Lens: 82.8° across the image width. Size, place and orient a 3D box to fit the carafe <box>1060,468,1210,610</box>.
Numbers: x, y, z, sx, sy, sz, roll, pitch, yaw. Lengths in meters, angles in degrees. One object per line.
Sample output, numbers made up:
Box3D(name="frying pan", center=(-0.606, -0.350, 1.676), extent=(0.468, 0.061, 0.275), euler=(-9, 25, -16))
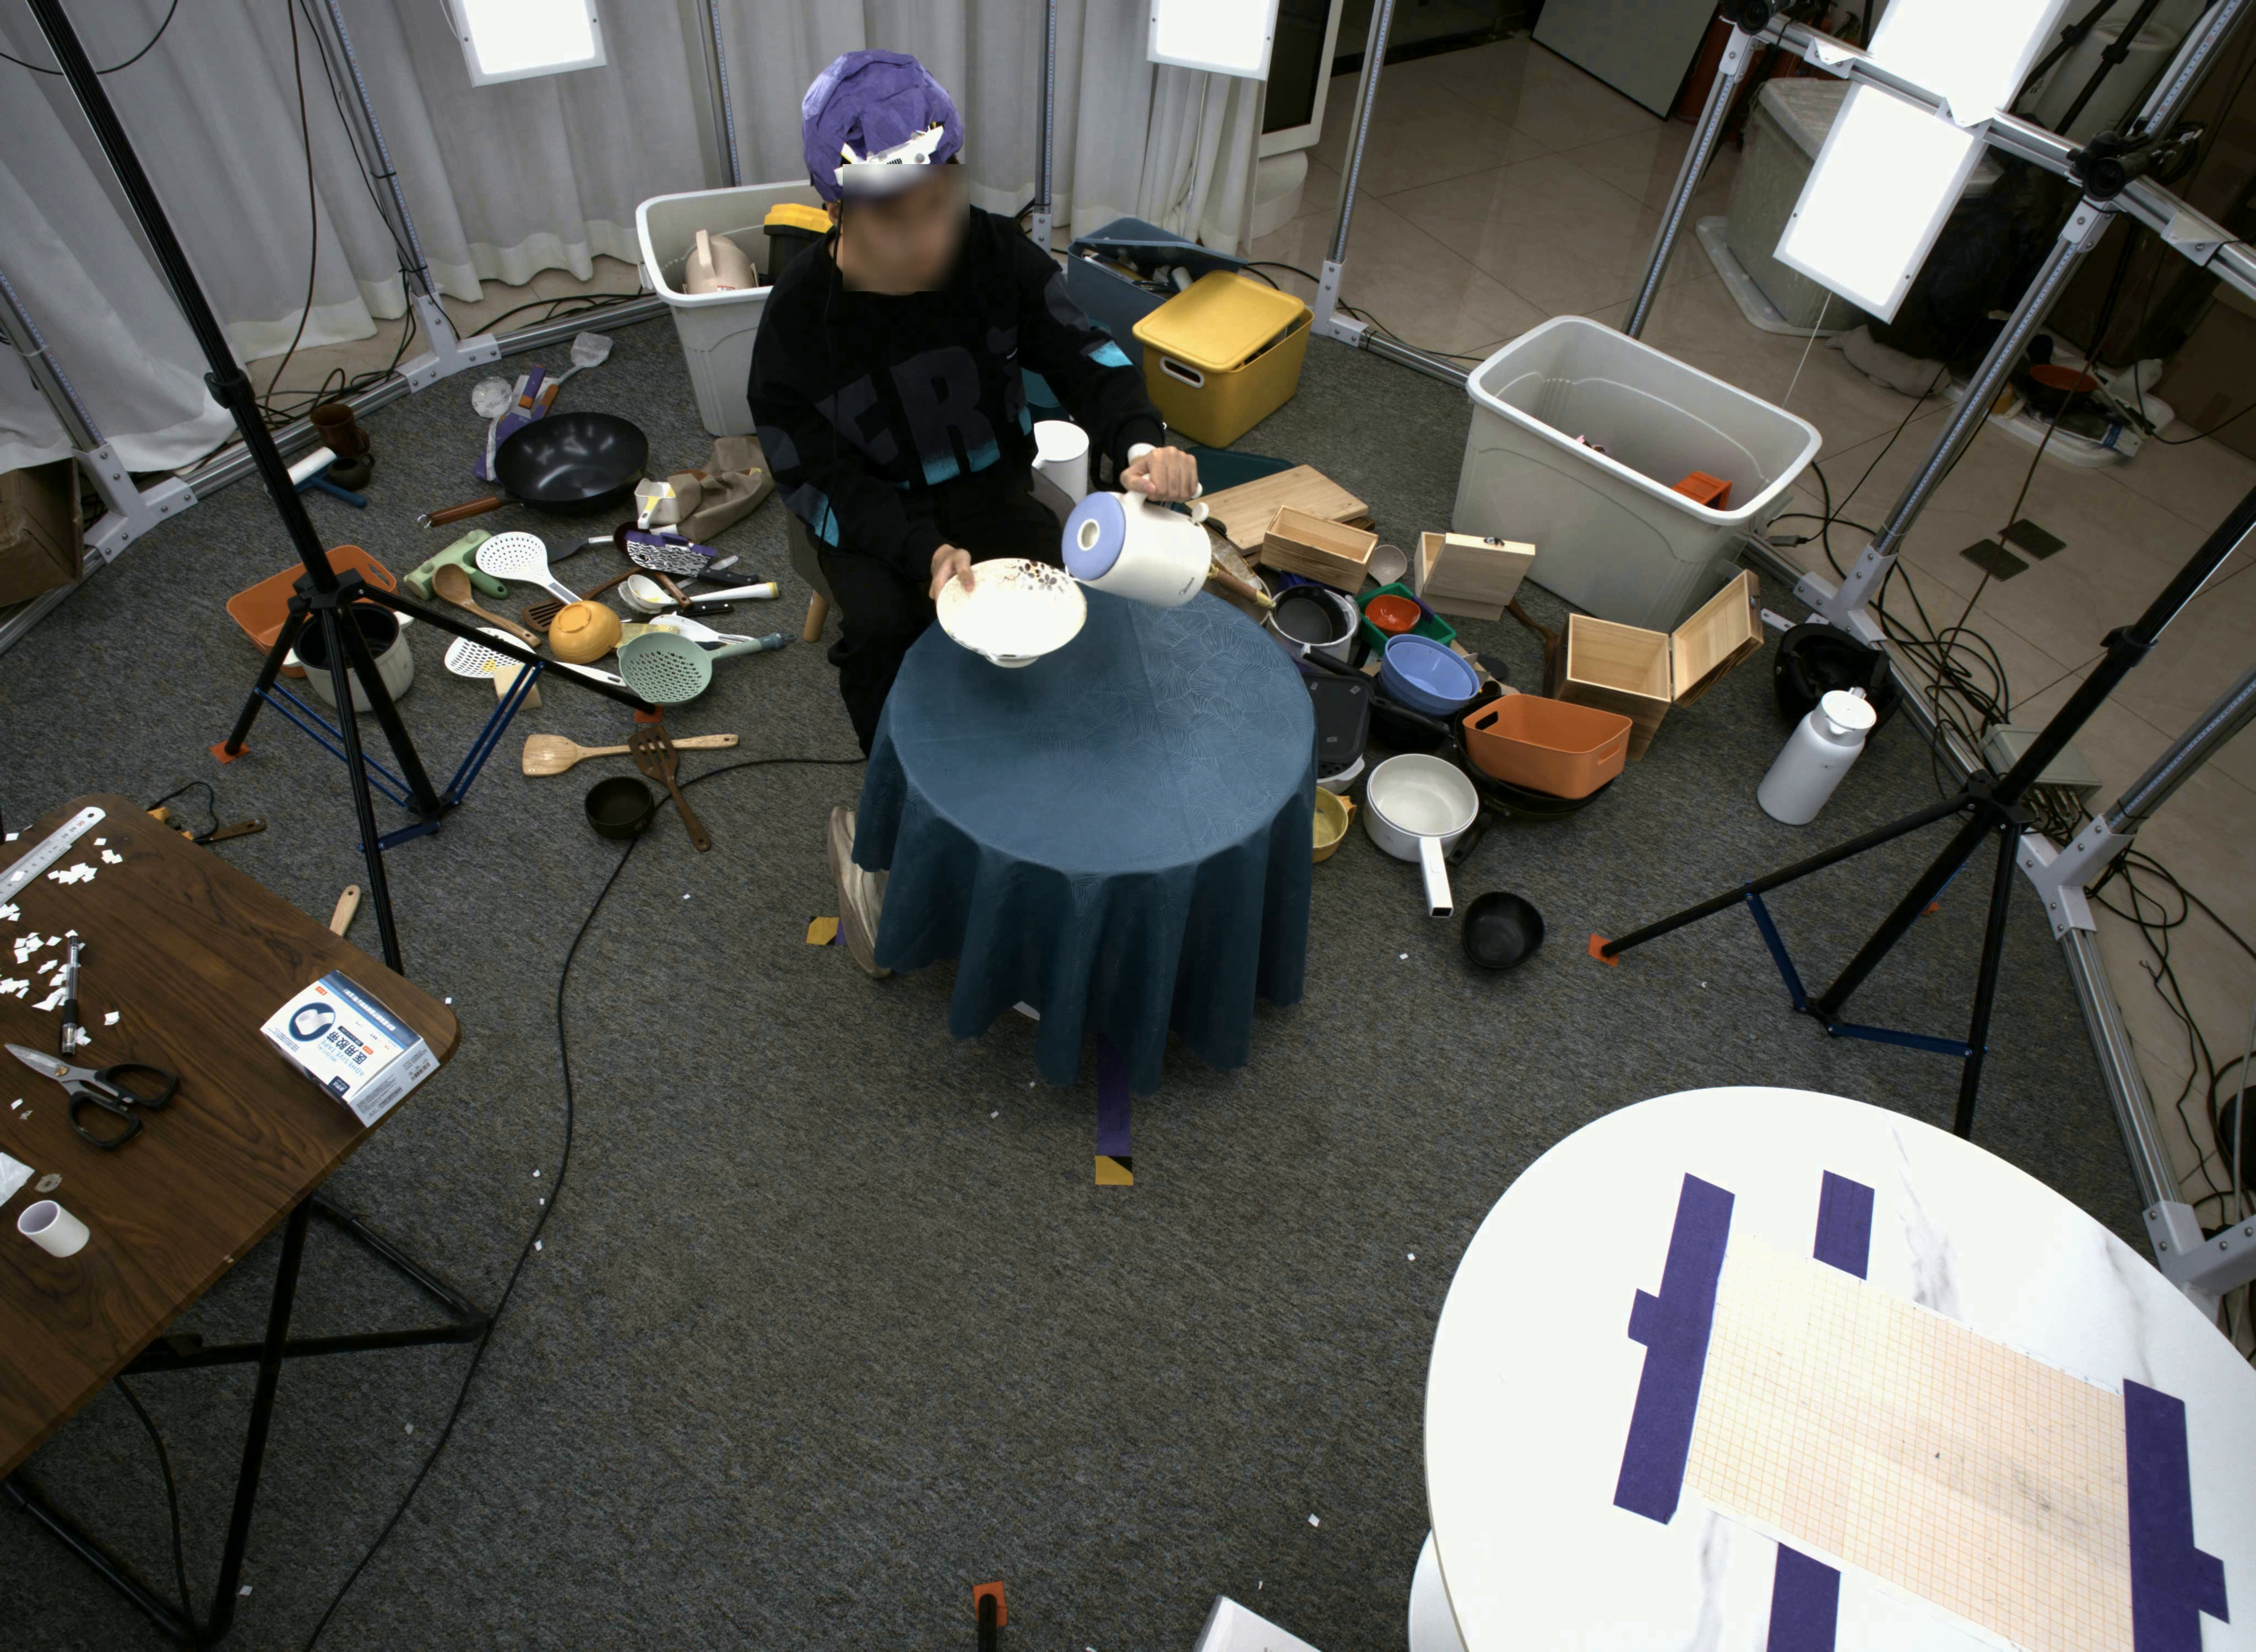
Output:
Box3D(name="carafe", center=(0.024, -0.392, 1.736), extent=(0.181, 0.189, 0.135), euler=(11, 34, -47))

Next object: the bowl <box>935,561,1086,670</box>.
Box3D(name="bowl", center=(-0.160, -0.273, 1.774), extent=(0.204, 0.076, 0.209), euler=(2, 47, -2))
